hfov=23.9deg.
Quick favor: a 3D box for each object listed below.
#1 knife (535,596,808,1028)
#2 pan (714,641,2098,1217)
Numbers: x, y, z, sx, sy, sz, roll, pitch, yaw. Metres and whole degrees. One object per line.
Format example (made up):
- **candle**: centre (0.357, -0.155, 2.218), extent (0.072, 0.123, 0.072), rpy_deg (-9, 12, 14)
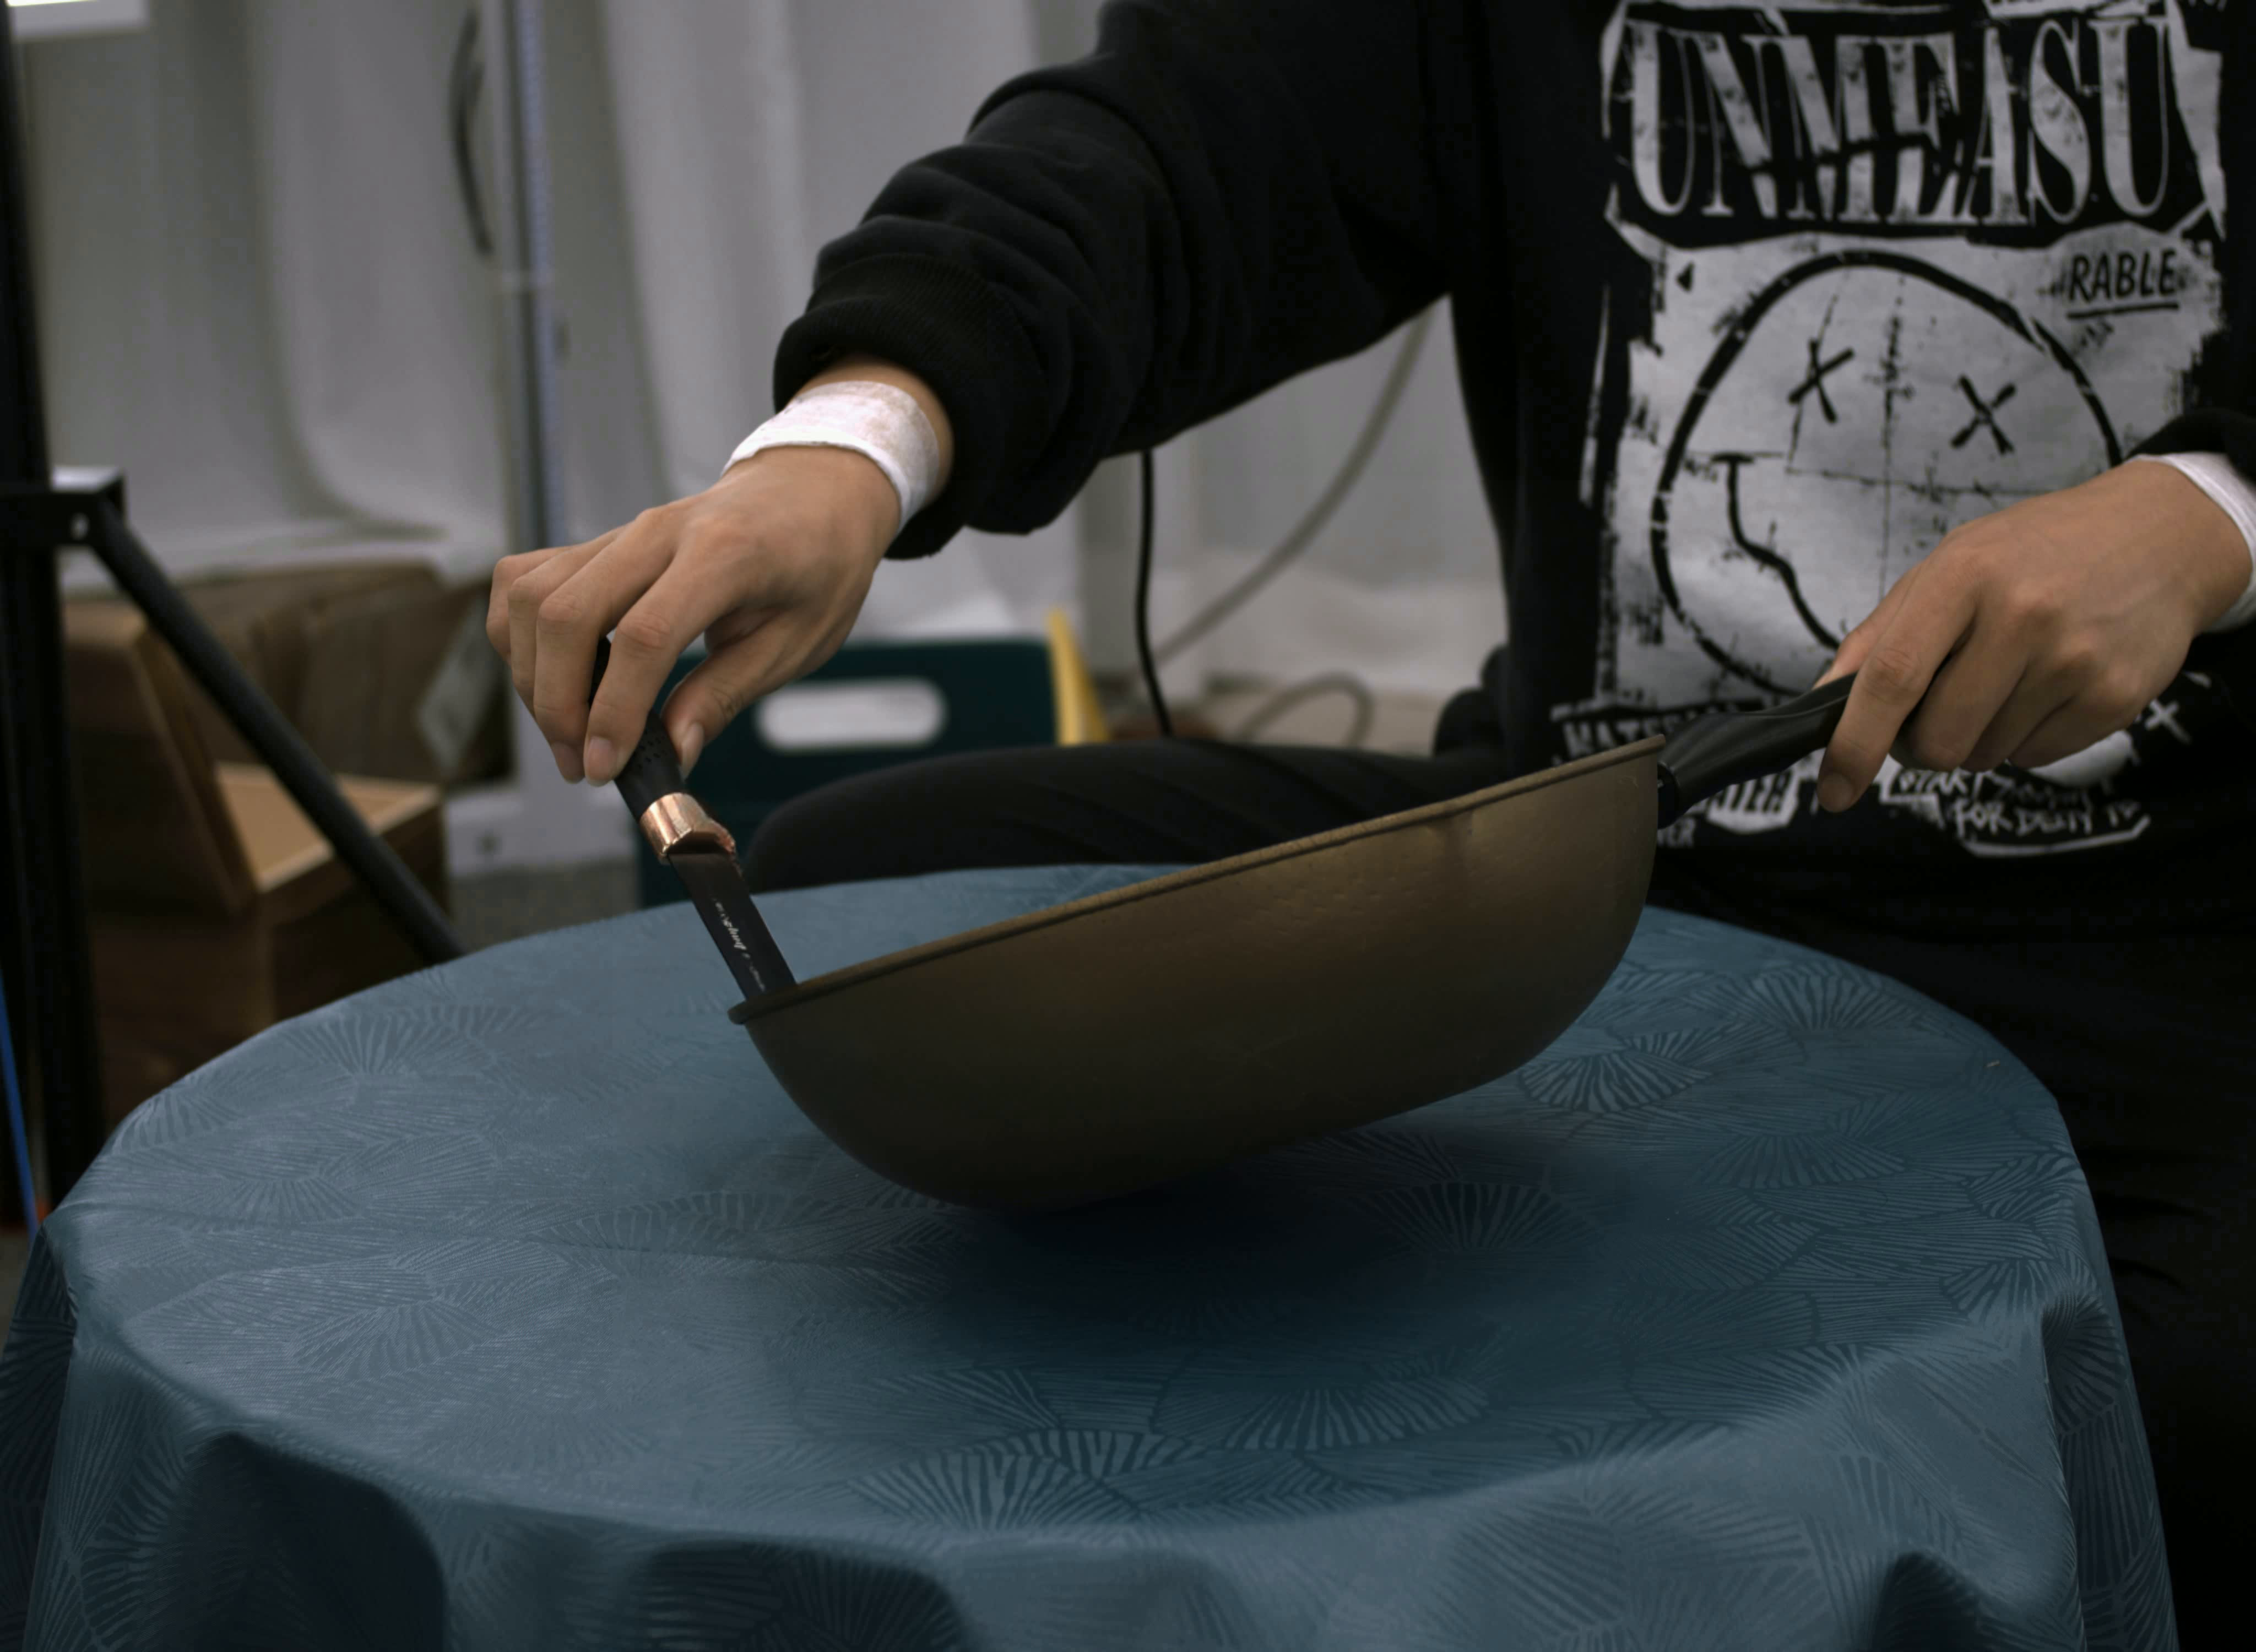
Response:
- **knife**: centre (-0.125, 0.010, 1.582), extent (0.025, 0.017, 0.230), rpy_deg (7, 38, -43)
- **pan**: centre (0.104, 0.032, 1.547), extent (0.454, 0.087, 0.292), rpy_deg (-14, -3, -27)
